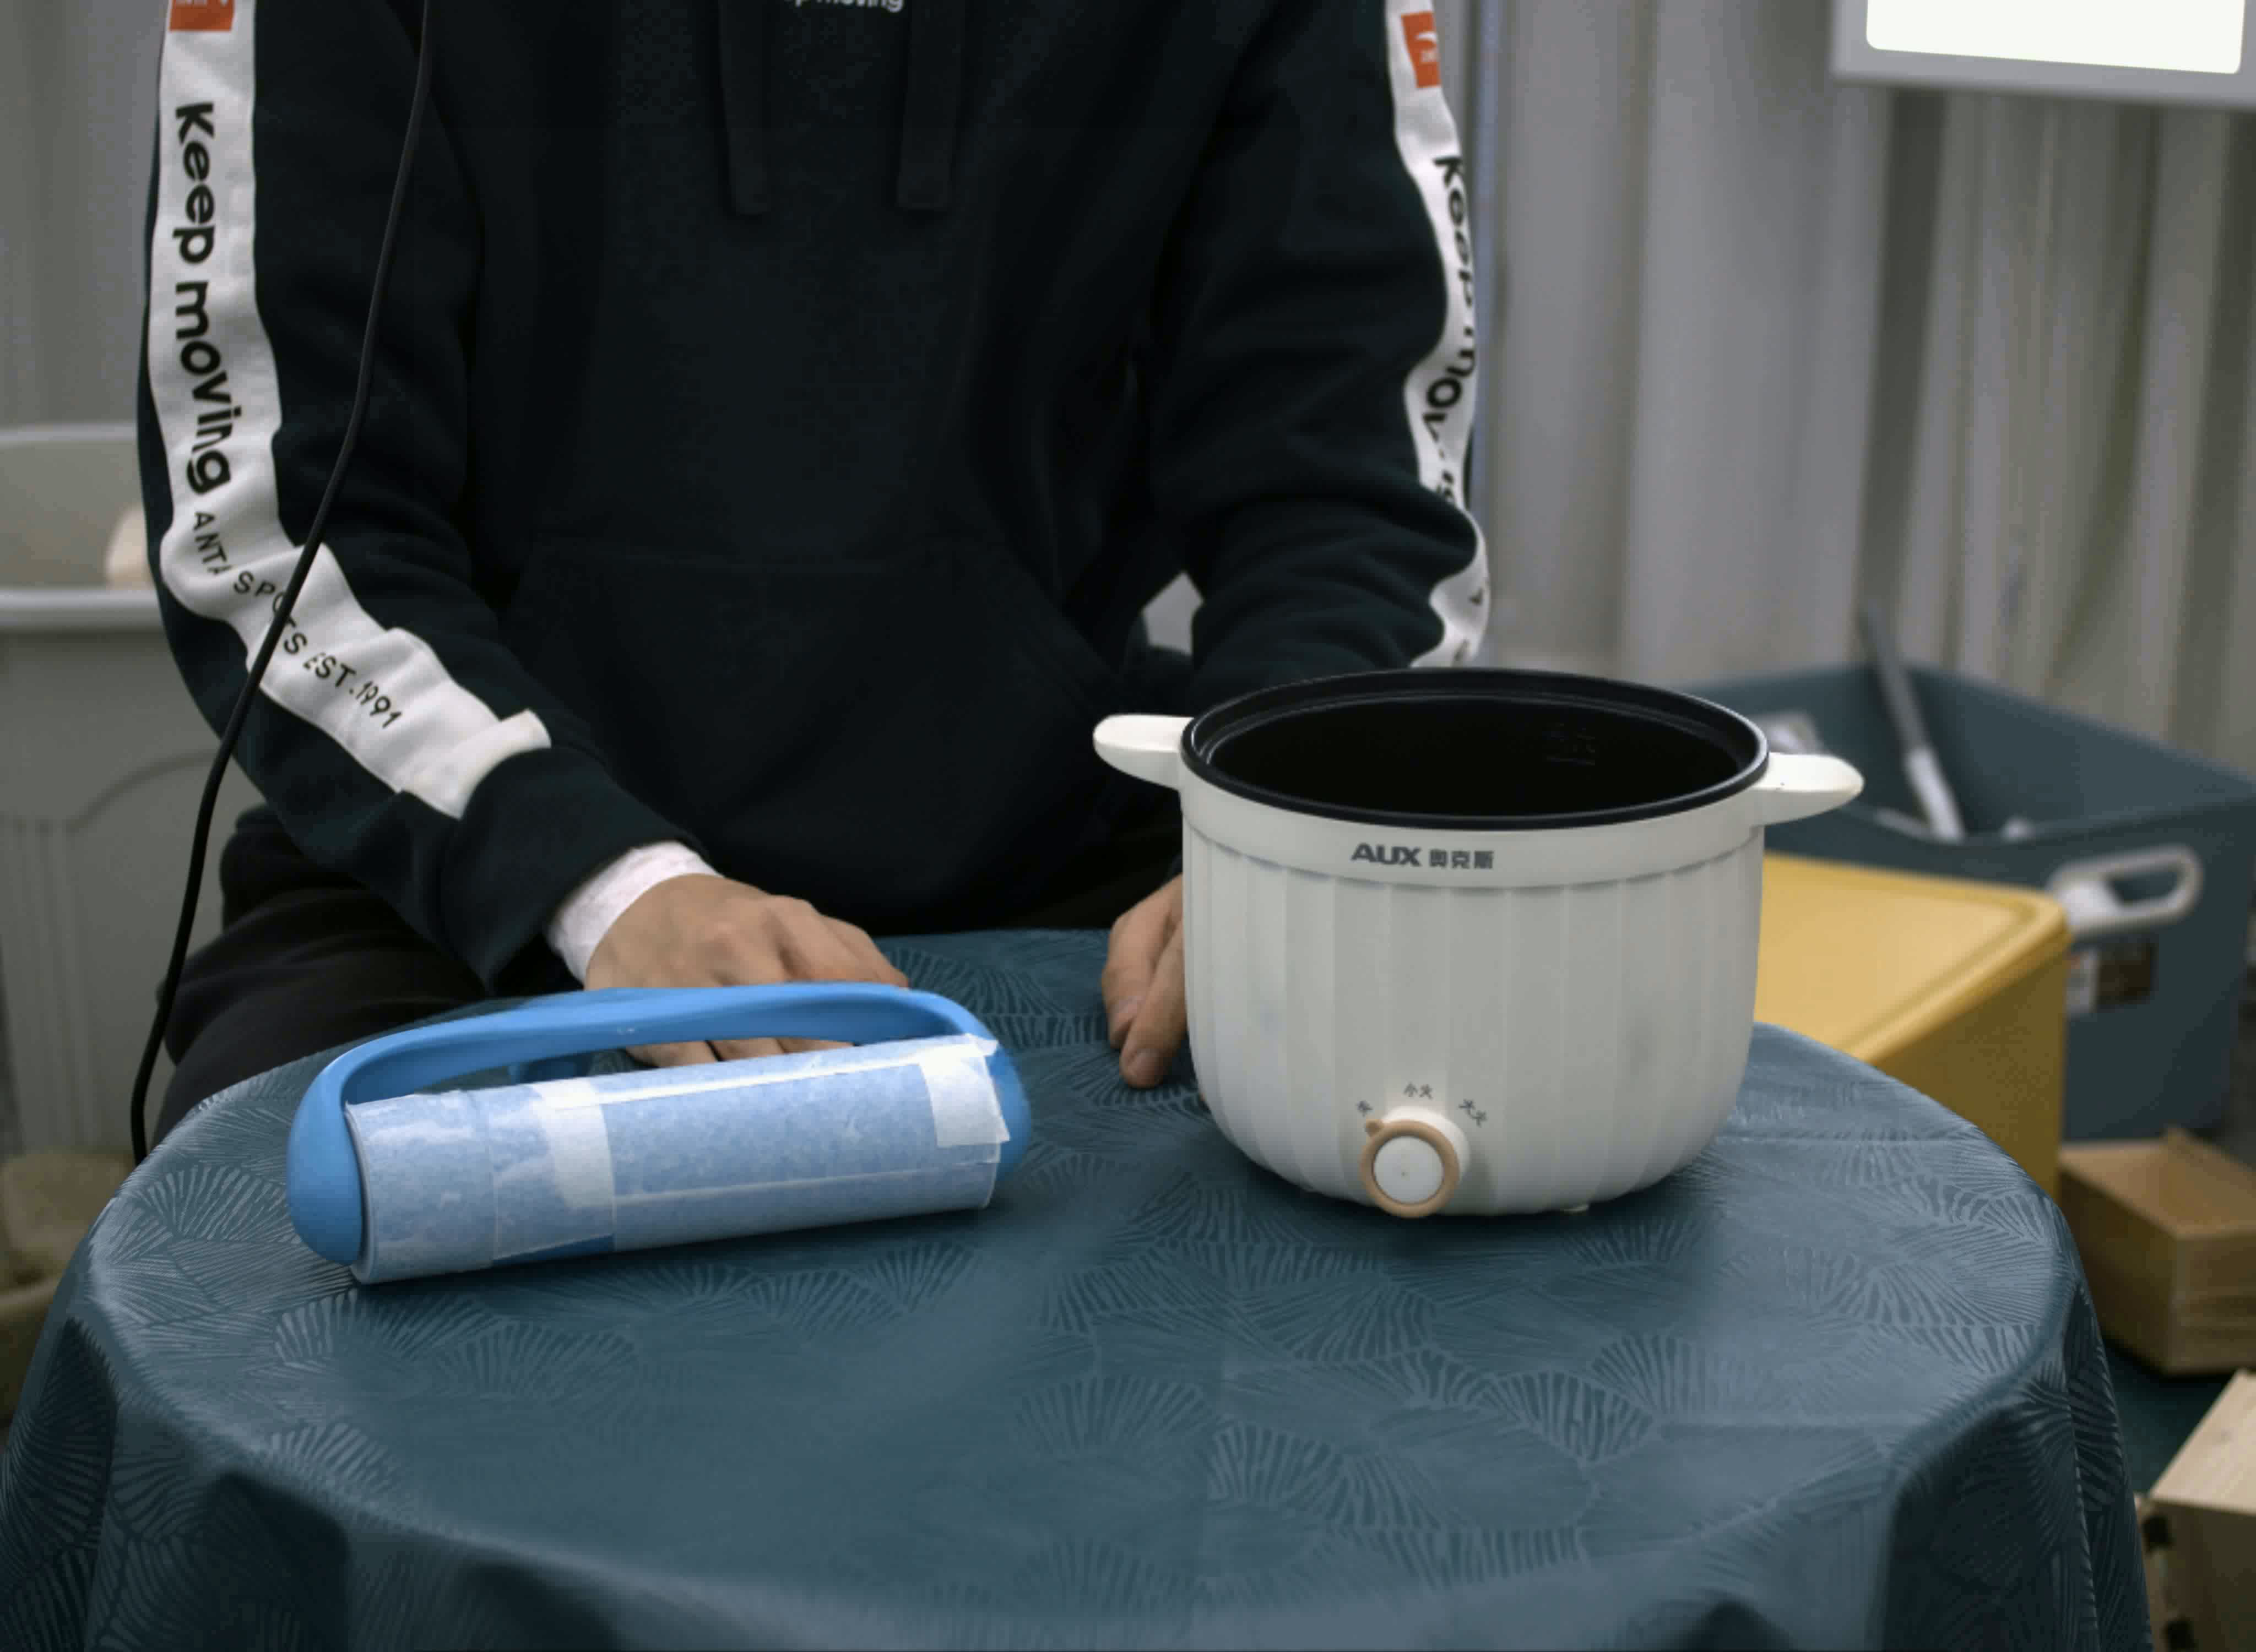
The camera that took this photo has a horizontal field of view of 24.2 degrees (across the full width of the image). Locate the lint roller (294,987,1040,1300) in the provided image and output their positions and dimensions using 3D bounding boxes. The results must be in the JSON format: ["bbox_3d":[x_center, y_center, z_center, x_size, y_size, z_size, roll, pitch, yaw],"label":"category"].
[{"bbox_3d":[-0.159,0.084,1.613,0.229,0.068,0.178,-9,18,-24],"label":"lint roller"}]

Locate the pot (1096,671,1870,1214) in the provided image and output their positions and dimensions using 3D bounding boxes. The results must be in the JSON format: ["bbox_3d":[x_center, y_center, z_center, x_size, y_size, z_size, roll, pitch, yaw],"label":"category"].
[{"bbox_3d":[0.107,0.039,1.628,0.239,0.143,0.190,2,13,12],"label":"pot"}]
